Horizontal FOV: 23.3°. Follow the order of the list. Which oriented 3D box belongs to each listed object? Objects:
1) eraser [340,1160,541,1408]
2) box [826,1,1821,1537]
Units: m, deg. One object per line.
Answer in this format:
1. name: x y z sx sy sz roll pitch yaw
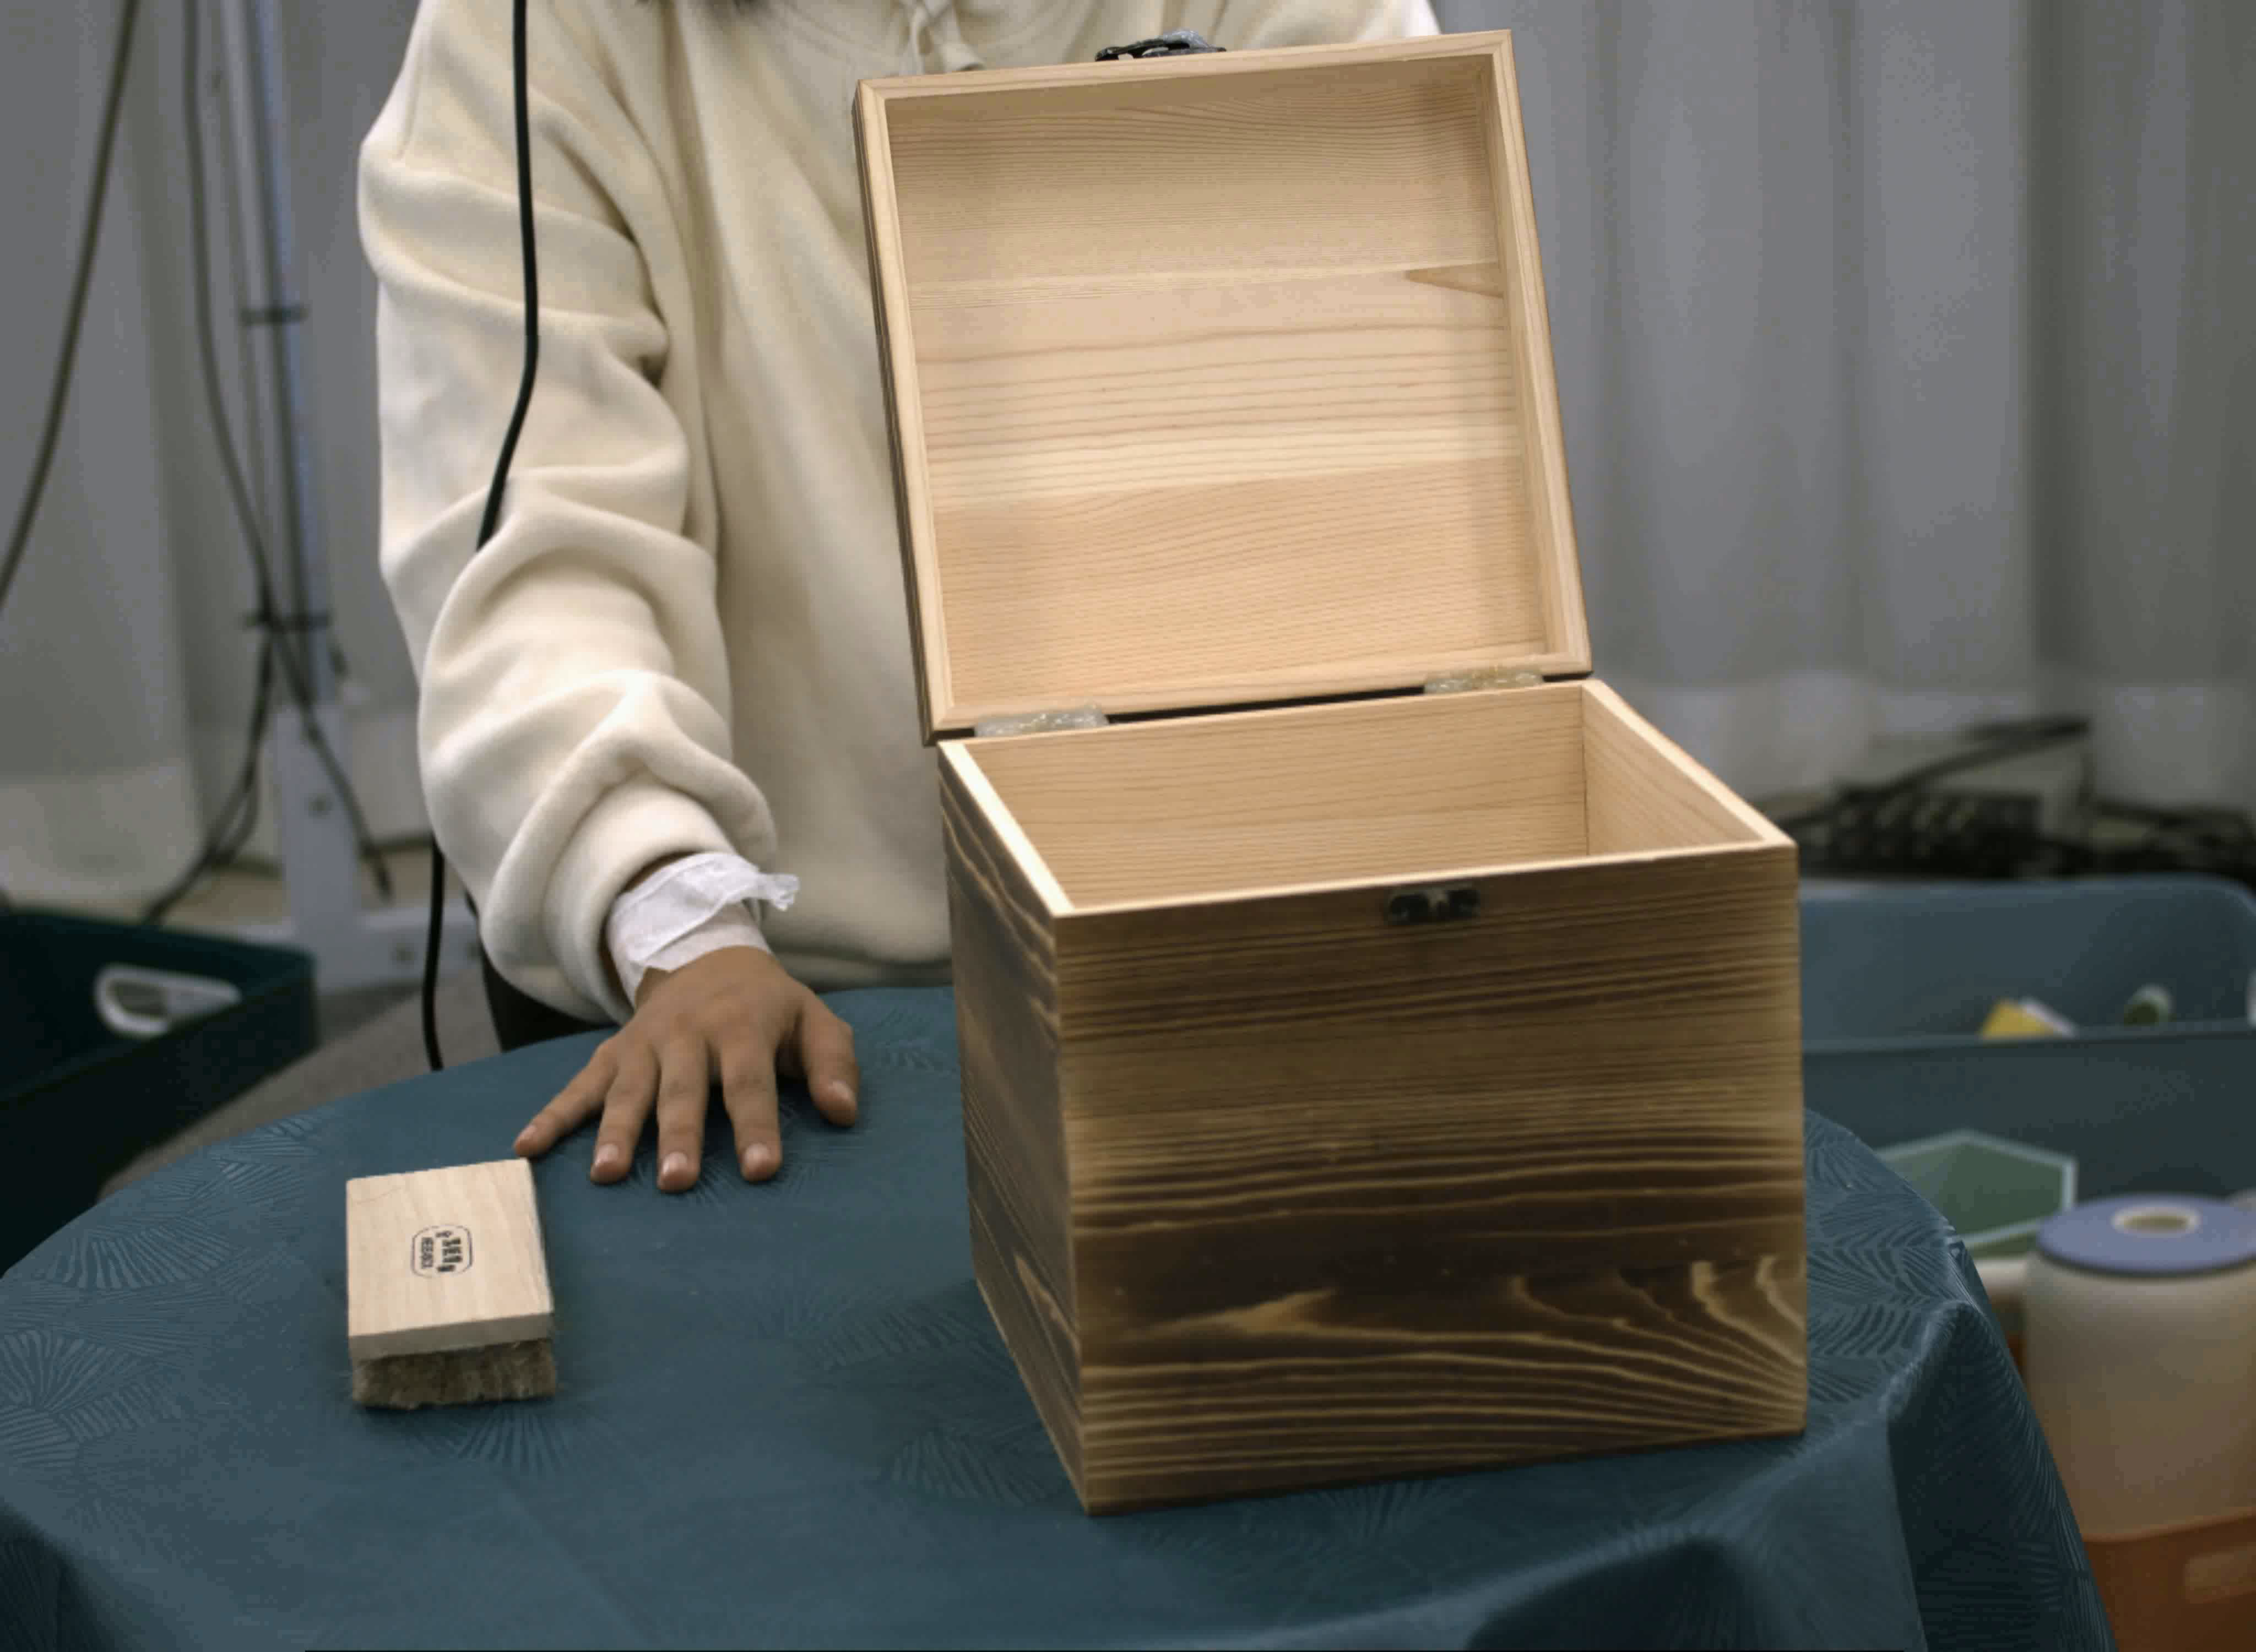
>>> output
1. eraser: -0.202 0.136 1.618 0.057 0.029 0.140 -7 14 -5
2. box: 0.048 -0.036 1.569 0.208 0.374 0.324 -6 14 -10
